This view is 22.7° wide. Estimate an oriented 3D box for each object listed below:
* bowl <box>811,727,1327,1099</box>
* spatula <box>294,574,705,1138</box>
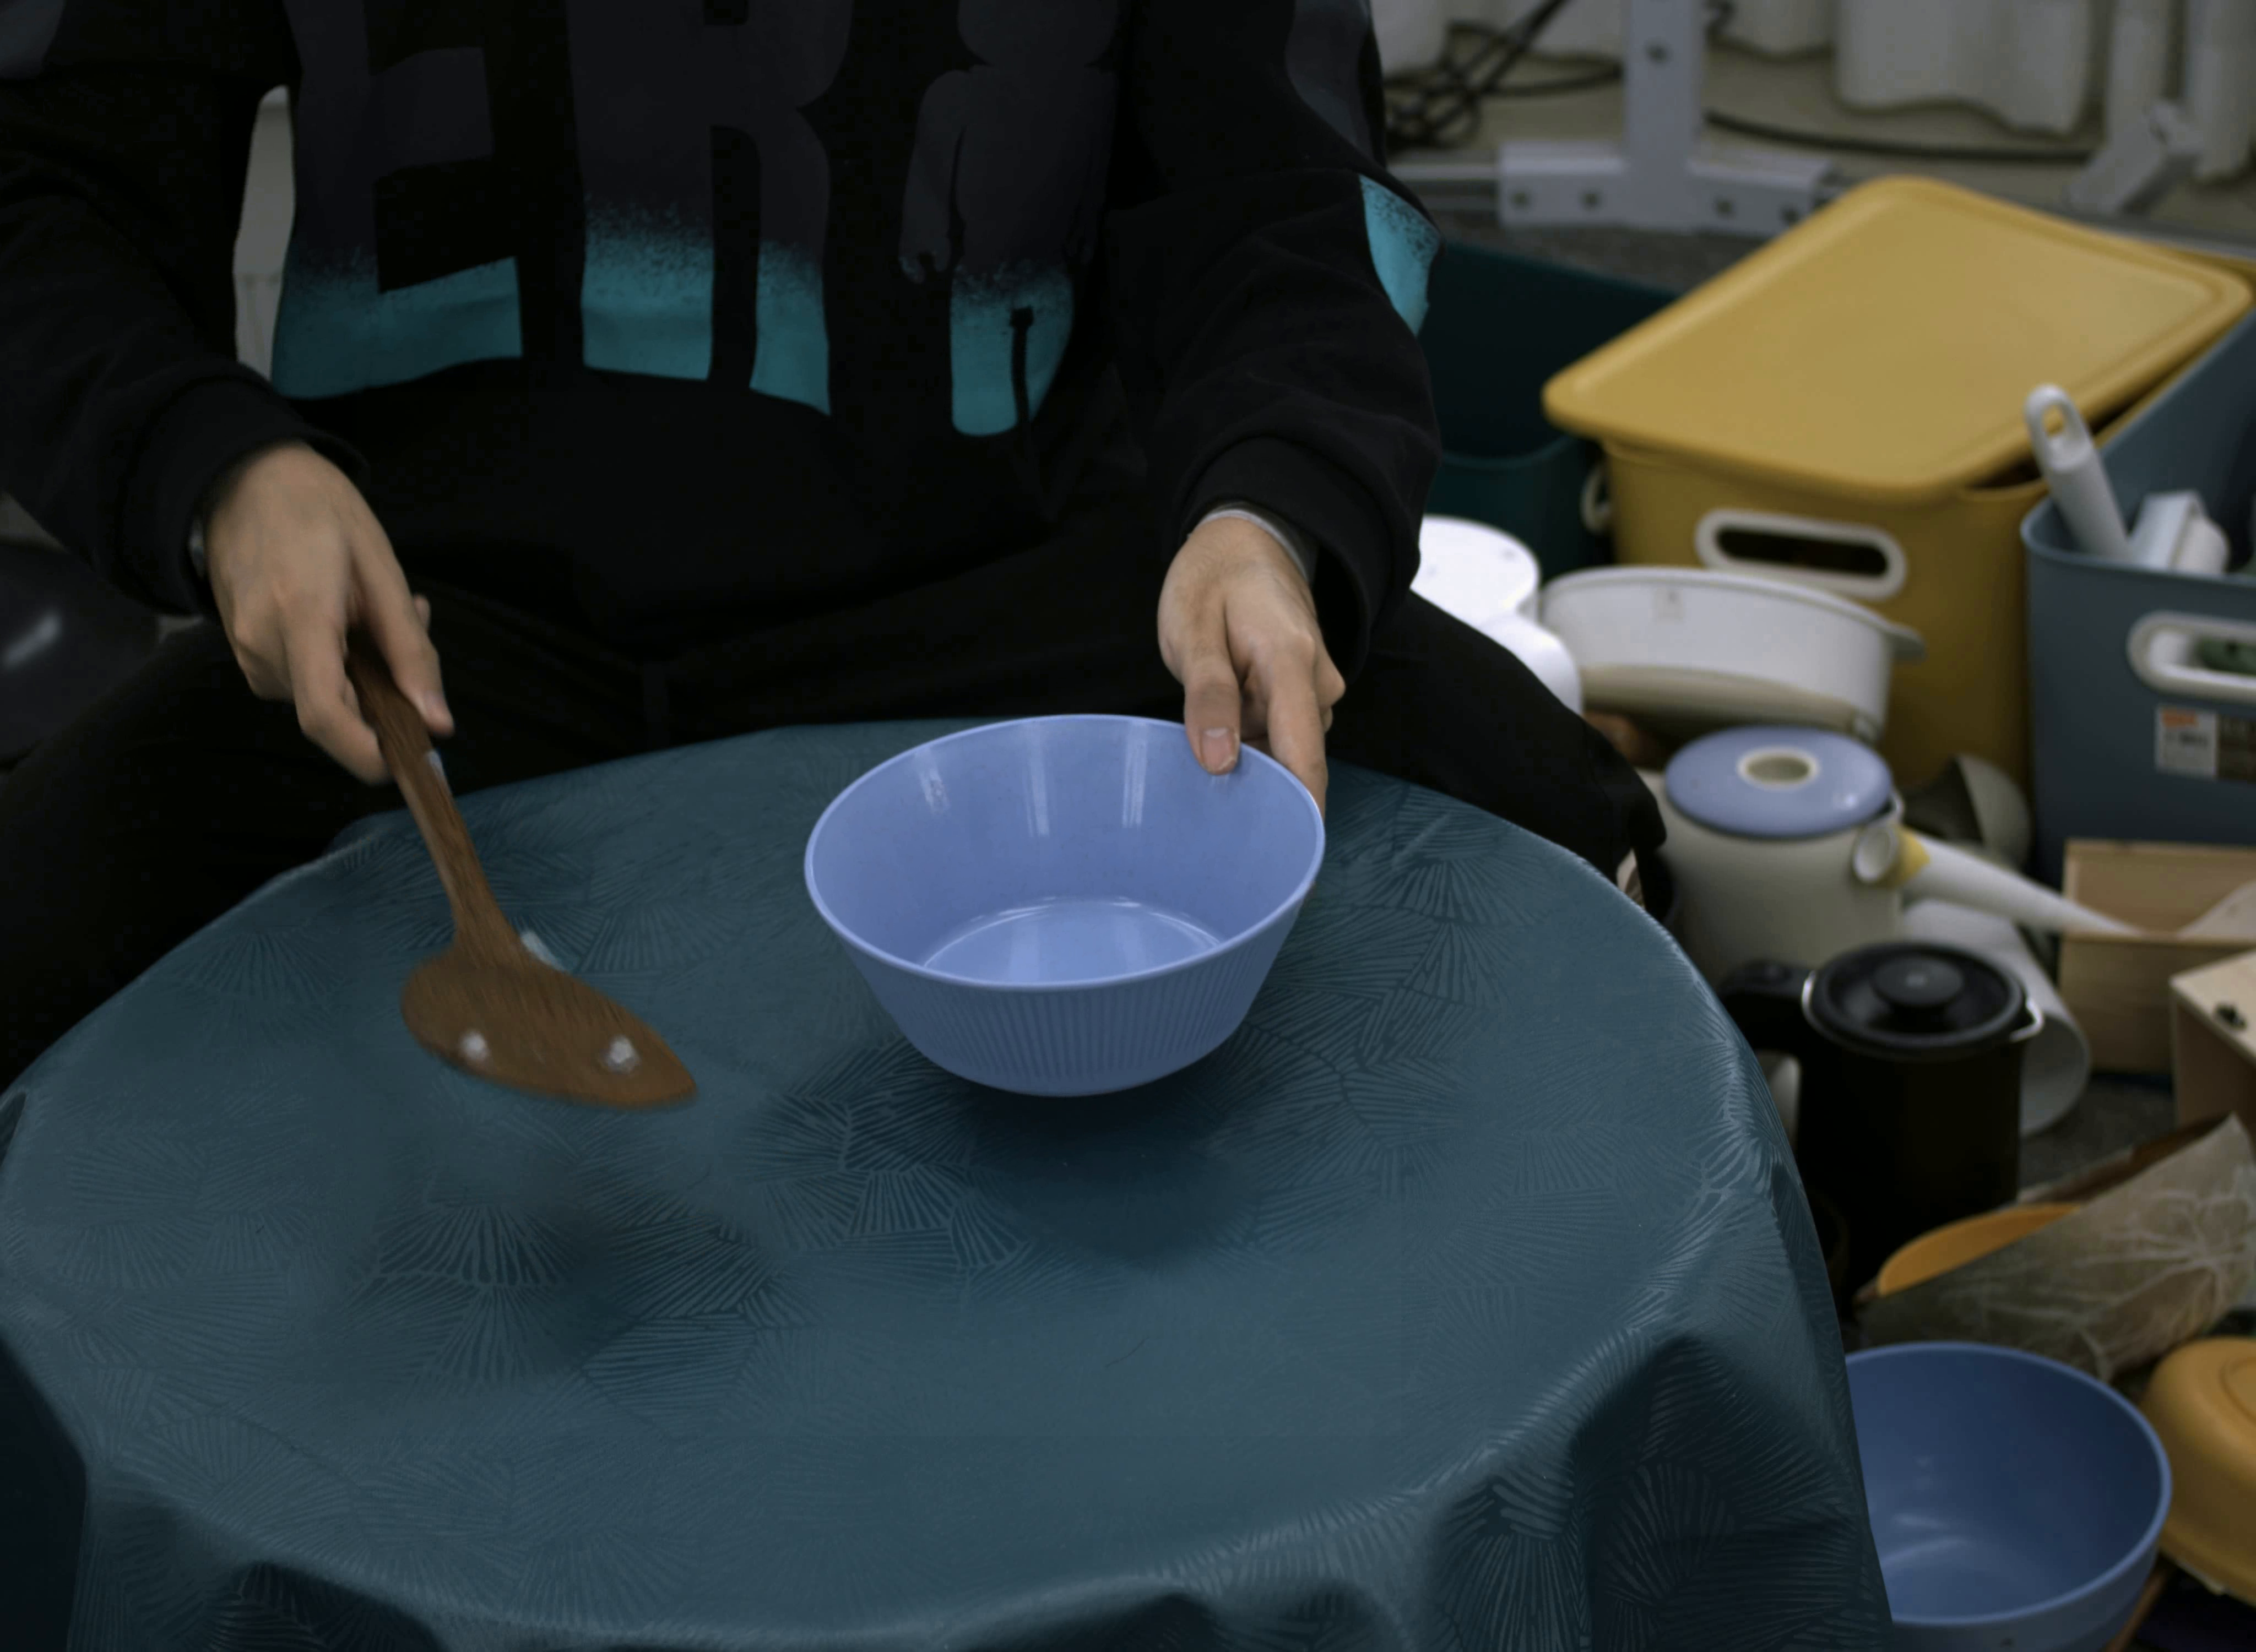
[{"bbox_3d":[-0.018,0.036,1.906,0.175,0.069,0.179,-2,28,2],"label":"bowl"},{"bbox_3d":[-0.236,0.002,1.942,0.096,0.015,0.390,11,25,-27],"label":"spatula"}]
